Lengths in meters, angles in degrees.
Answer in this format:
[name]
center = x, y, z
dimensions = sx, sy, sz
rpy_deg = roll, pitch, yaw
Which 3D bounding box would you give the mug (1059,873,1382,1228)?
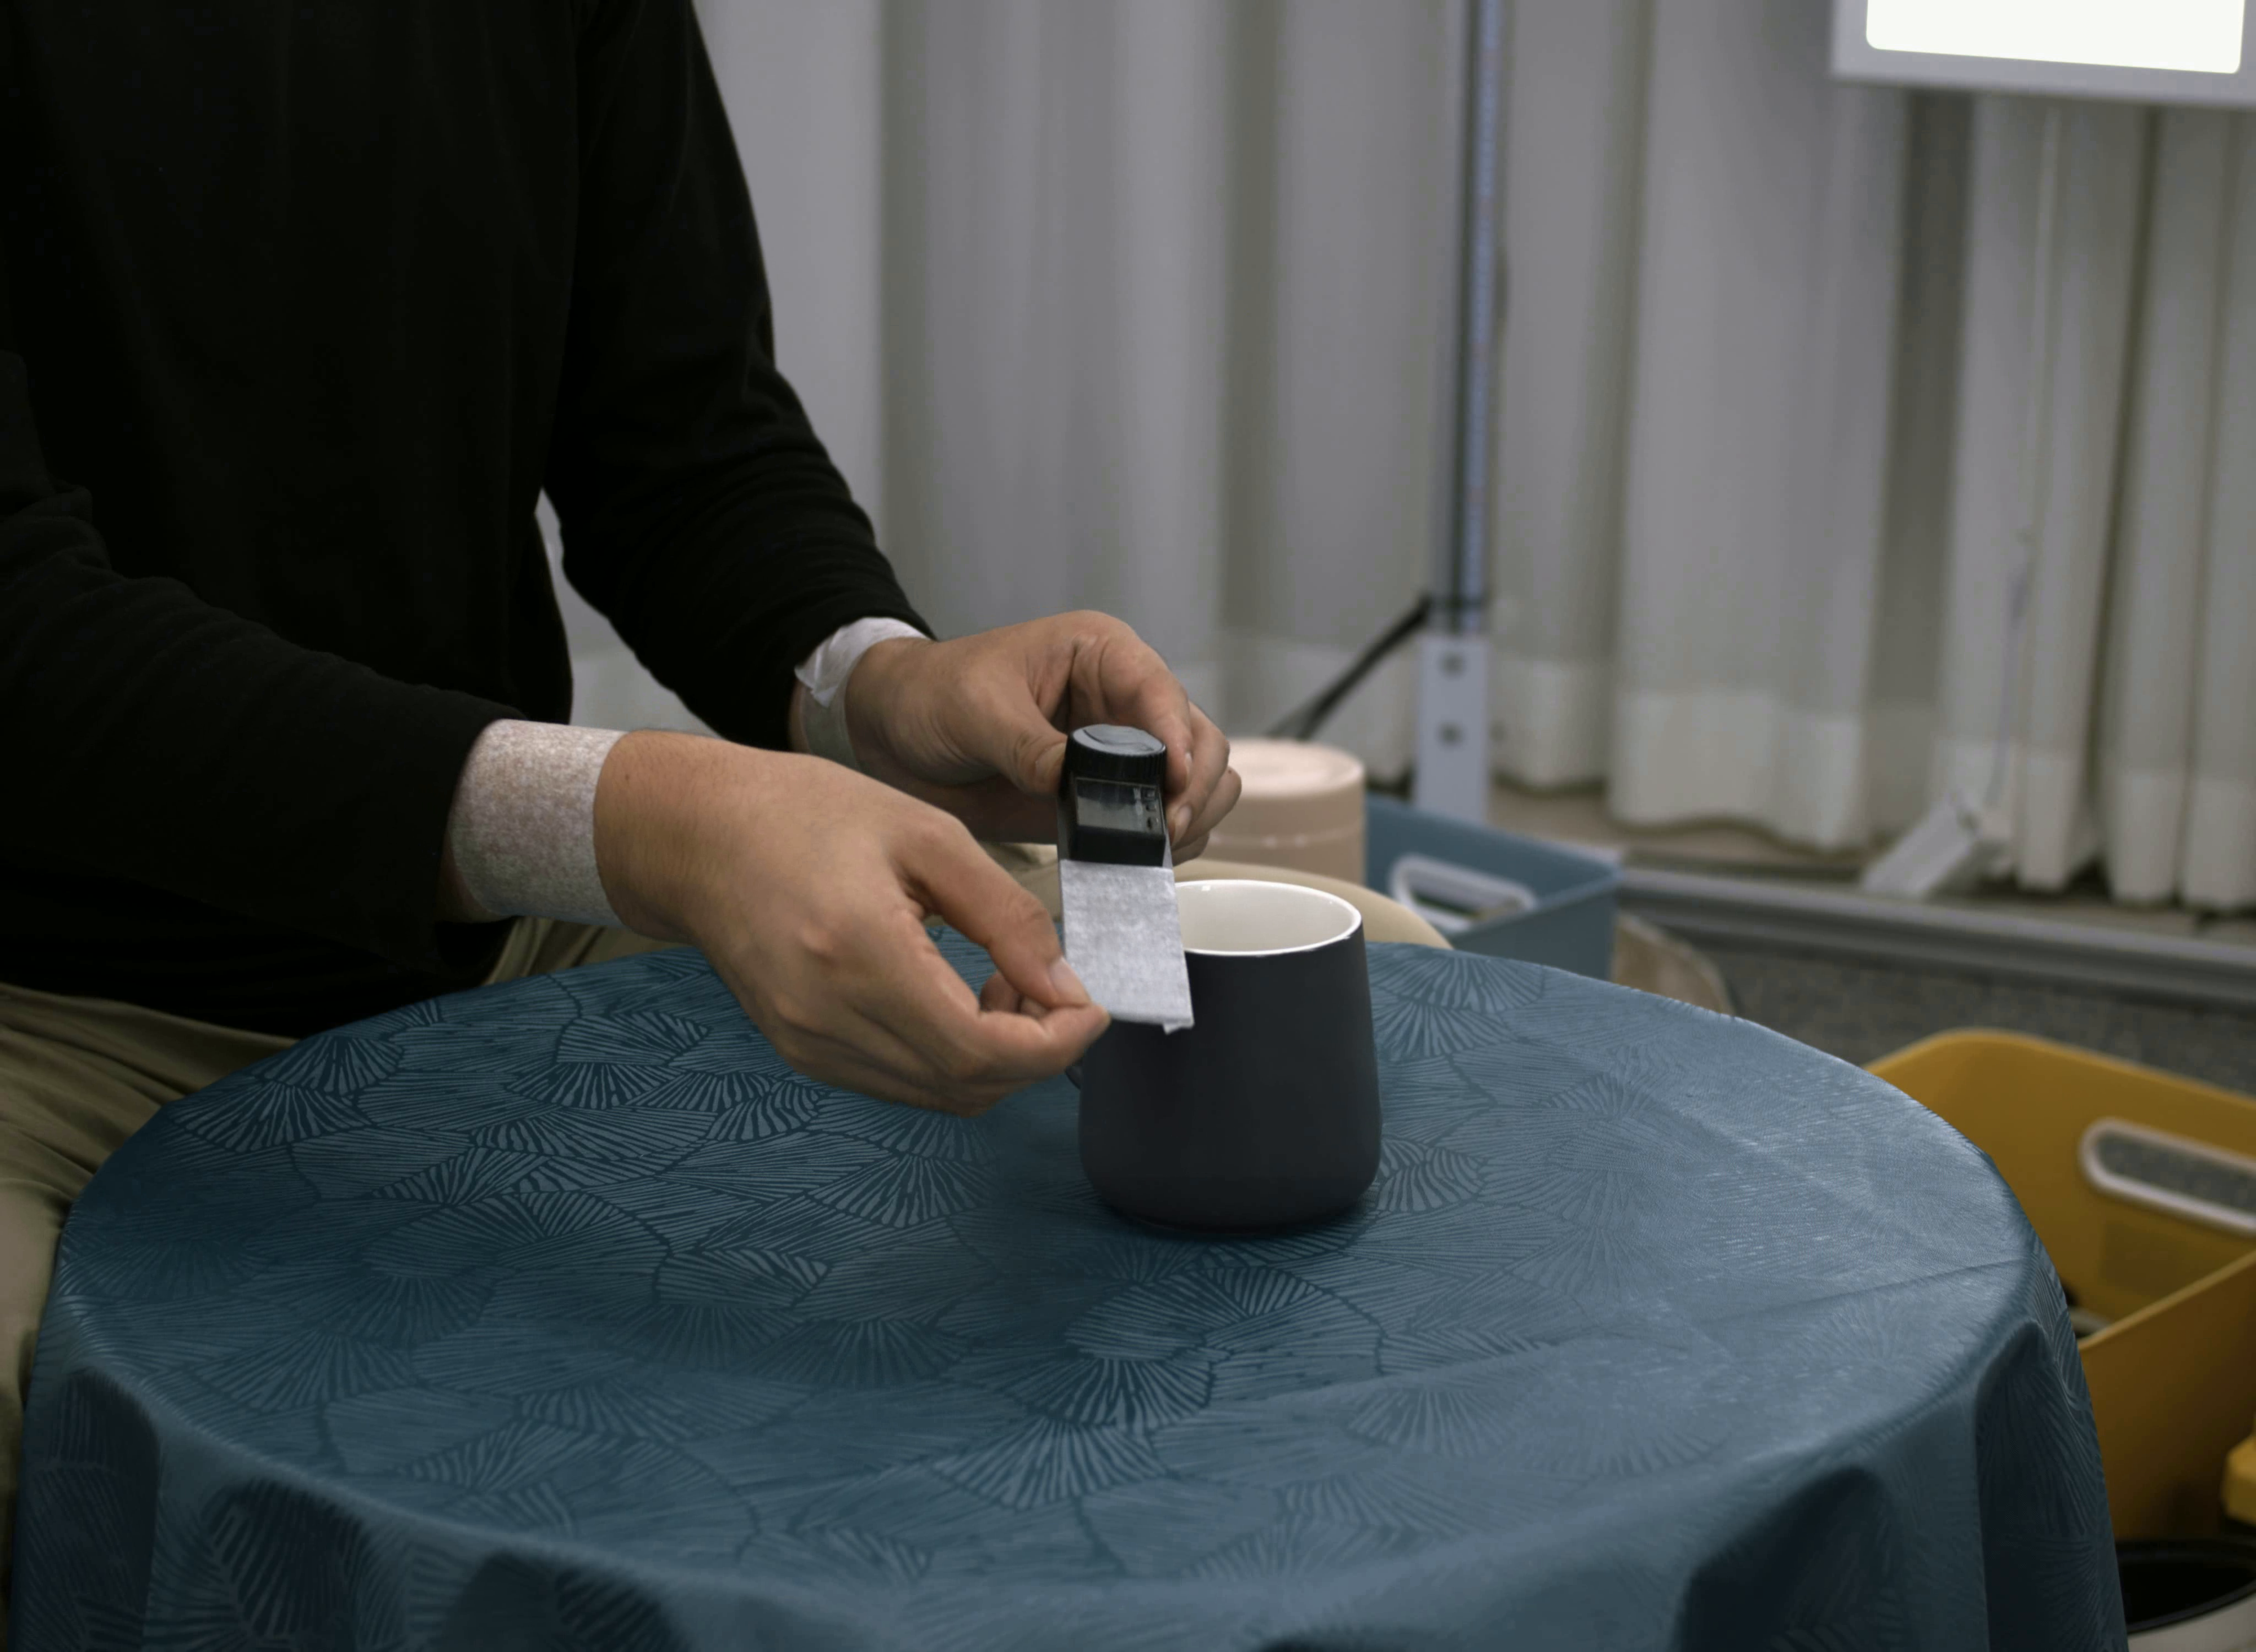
[mug]
center = 0.022, 0.065, 1.615
dimensions = 0.094, 0.090, 0.121
rpy_deg = -11, 21, -39

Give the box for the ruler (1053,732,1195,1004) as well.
[ruler]
center = -0.003, 0.010, 1.576
dimensions = 0.038, 0.024, 0.217
rpy_deg = 1, 16, -2
